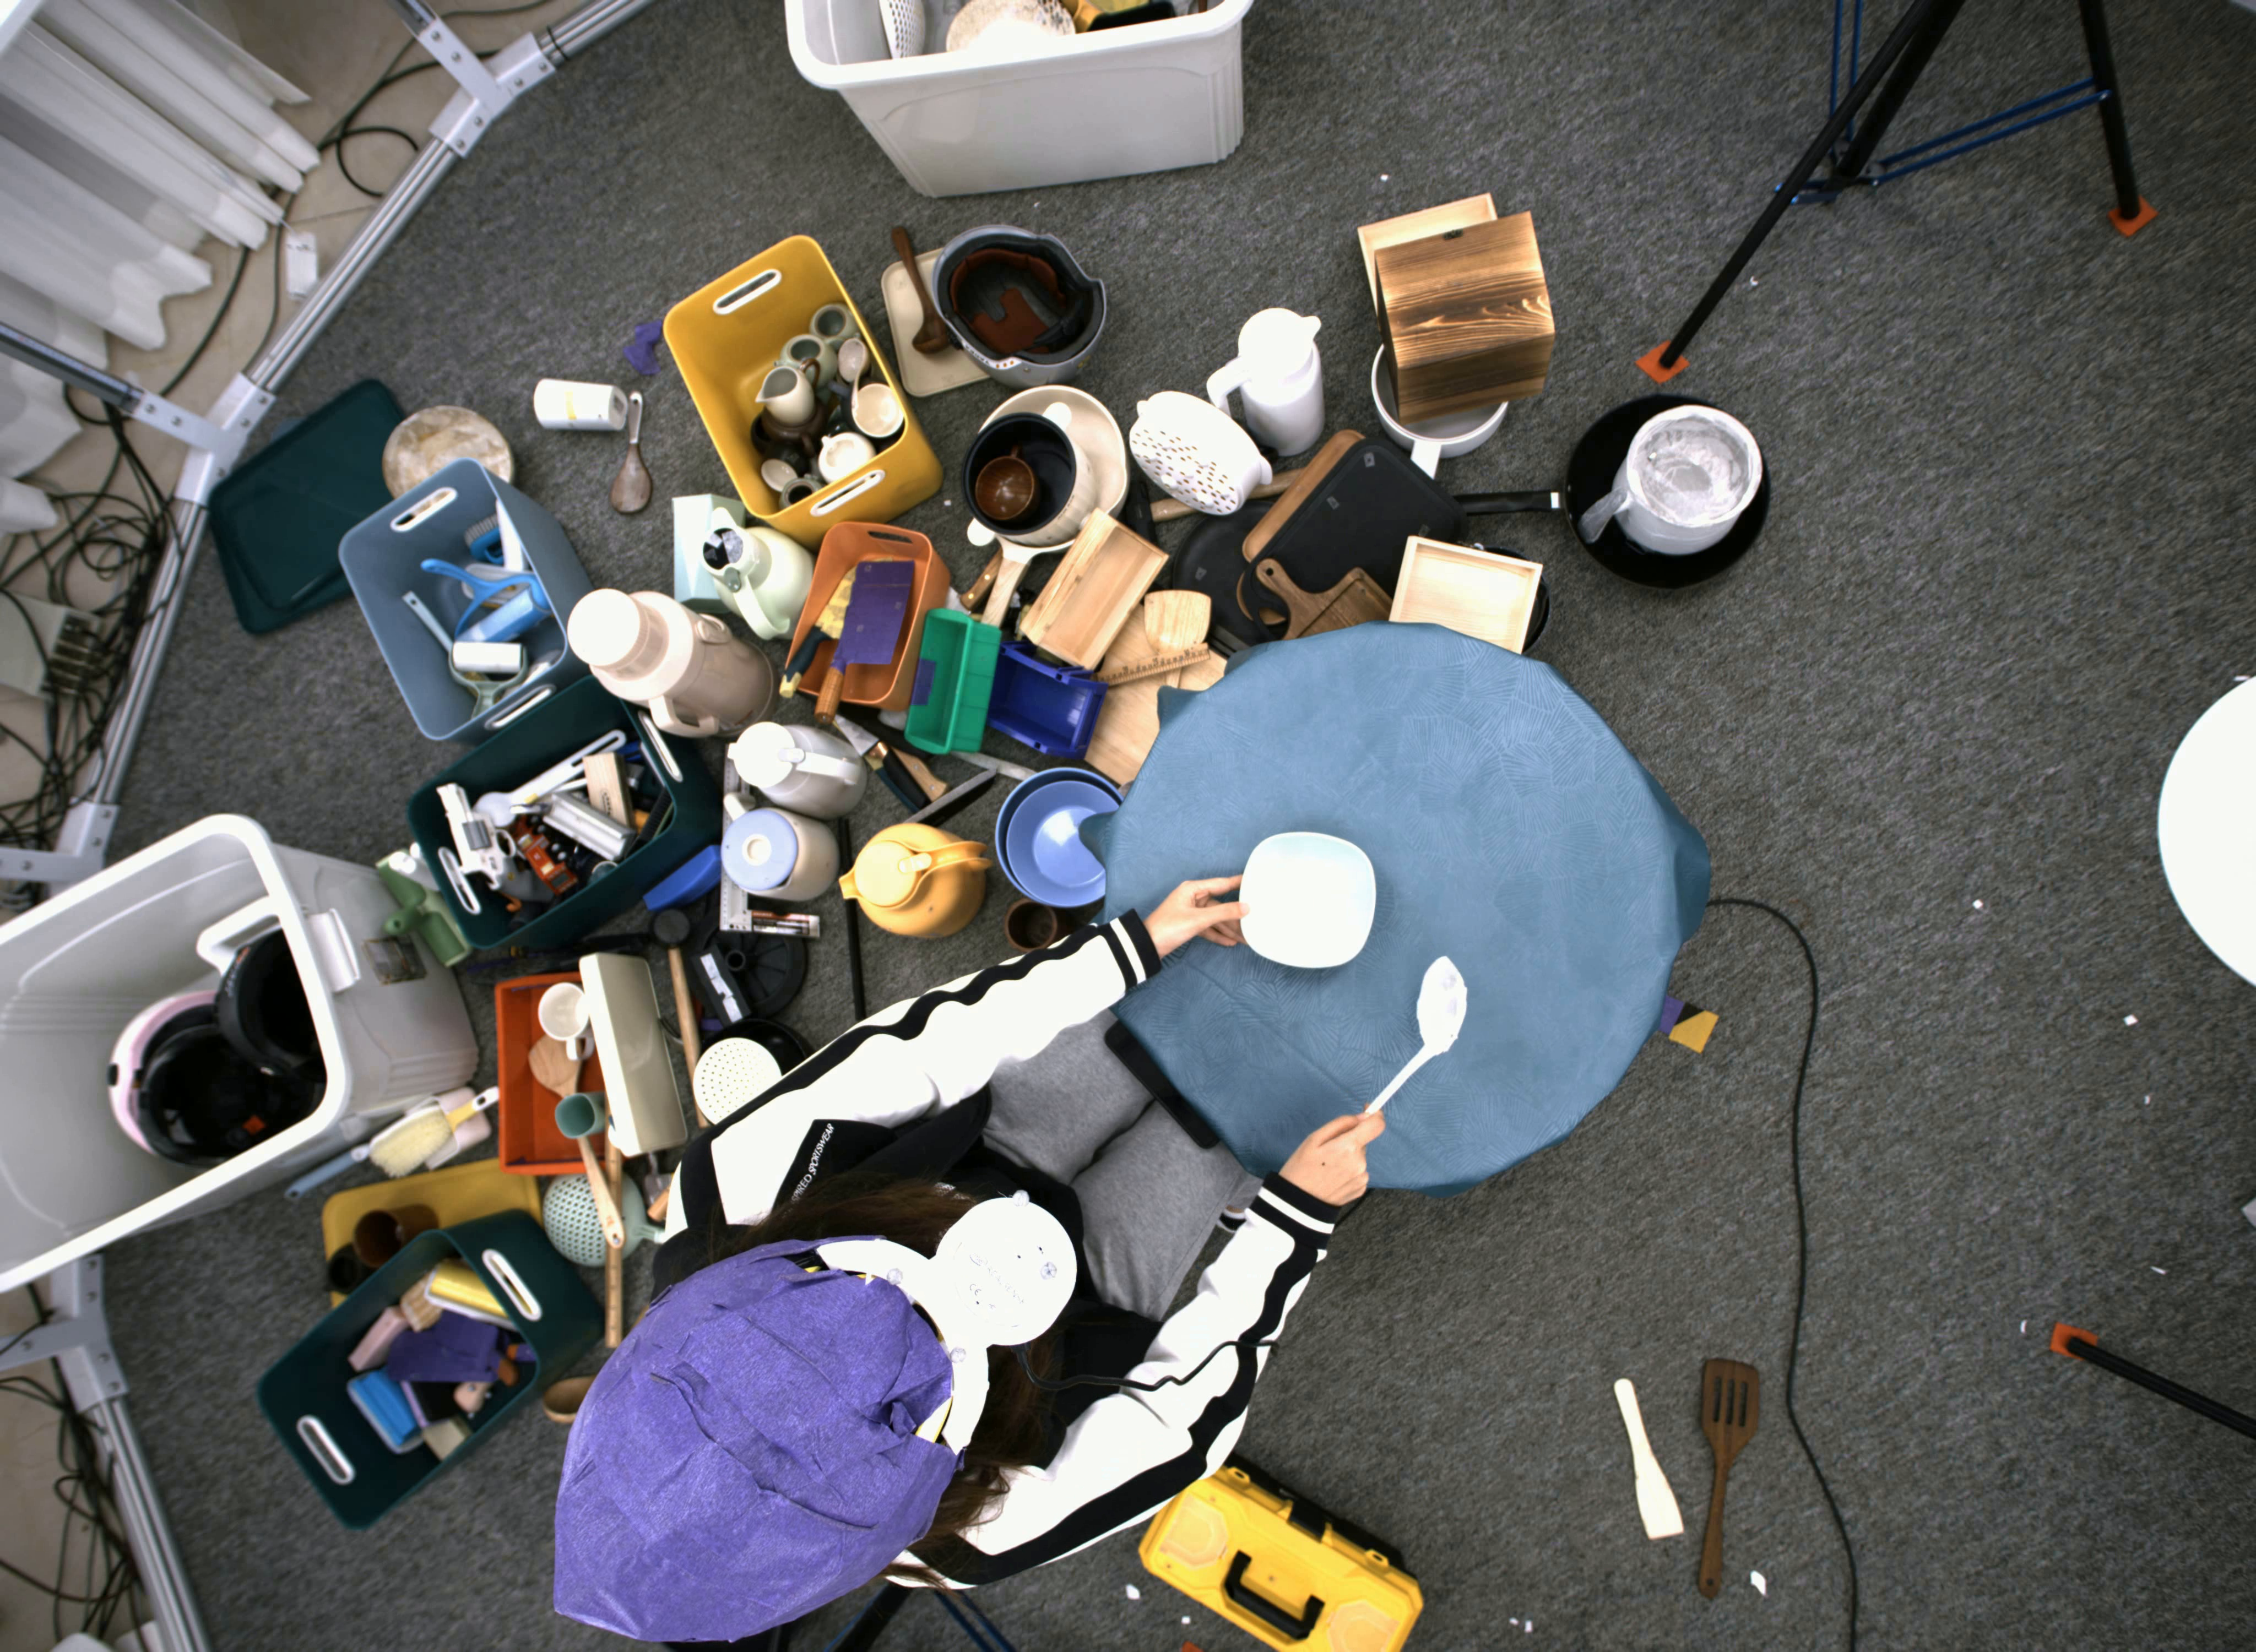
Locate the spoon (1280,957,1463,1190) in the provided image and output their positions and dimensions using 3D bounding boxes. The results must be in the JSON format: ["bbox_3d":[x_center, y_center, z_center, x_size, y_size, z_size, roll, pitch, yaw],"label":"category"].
[{"bbox_3d":[0.230,0.241,1.354,0.060,0.099,0.279,42,99,-13],"label":"spoon"}]

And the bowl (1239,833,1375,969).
[{"bbox_3d":[0.188,0.079,1.448,0.152,0.058,0.151,-1,86,11],"label":"bowl"}]
